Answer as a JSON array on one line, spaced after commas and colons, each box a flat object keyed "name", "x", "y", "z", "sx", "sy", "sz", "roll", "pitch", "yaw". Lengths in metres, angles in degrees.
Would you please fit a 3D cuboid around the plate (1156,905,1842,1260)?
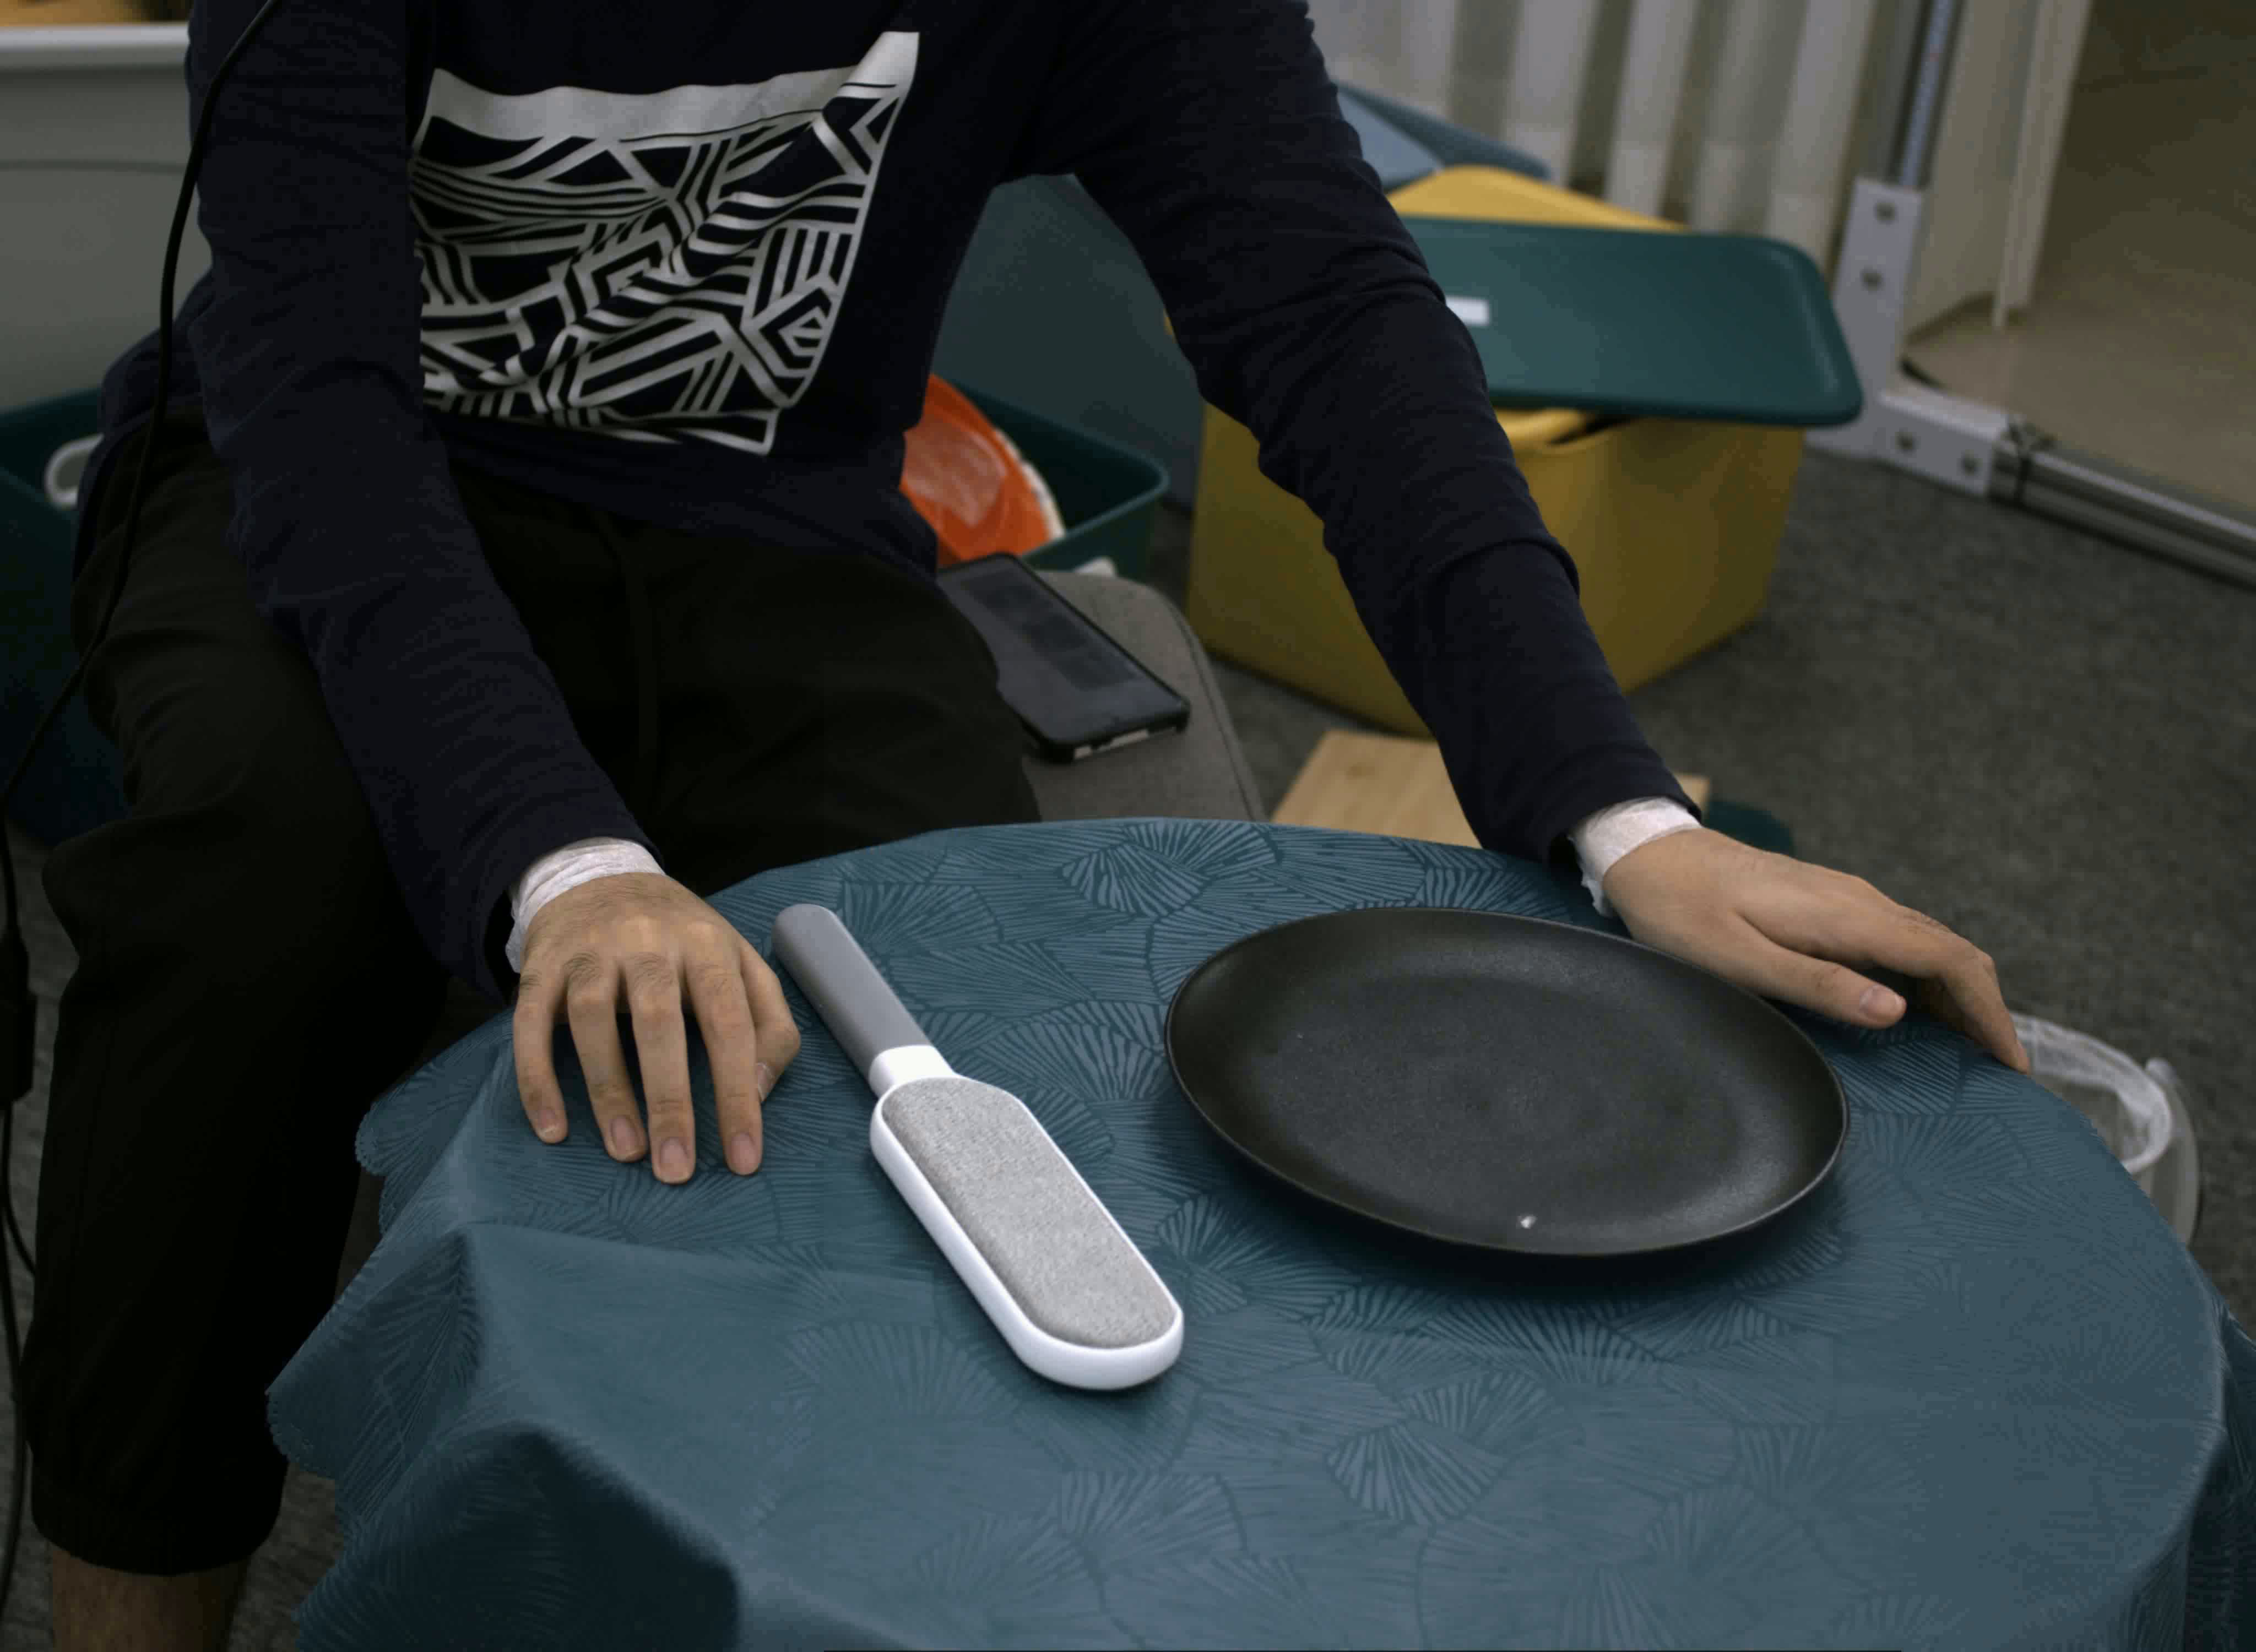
[{"name": "plate", "x": 0.129, "y": 0.094, "z": 1.868, "sx": 0.243, "sy": 0.023, "sz": 0.246, "roll": 5, "pitch": 27, "yaw": -3}]

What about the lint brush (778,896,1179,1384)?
[{"name": "lint brush", "x": -0.058, "y": 0.101, "z": 1.807, "sx": 0.060, "sy": 0.021, "sz": 0.312, "roll": -10, "pitch": 31, "yaw": -20}]
